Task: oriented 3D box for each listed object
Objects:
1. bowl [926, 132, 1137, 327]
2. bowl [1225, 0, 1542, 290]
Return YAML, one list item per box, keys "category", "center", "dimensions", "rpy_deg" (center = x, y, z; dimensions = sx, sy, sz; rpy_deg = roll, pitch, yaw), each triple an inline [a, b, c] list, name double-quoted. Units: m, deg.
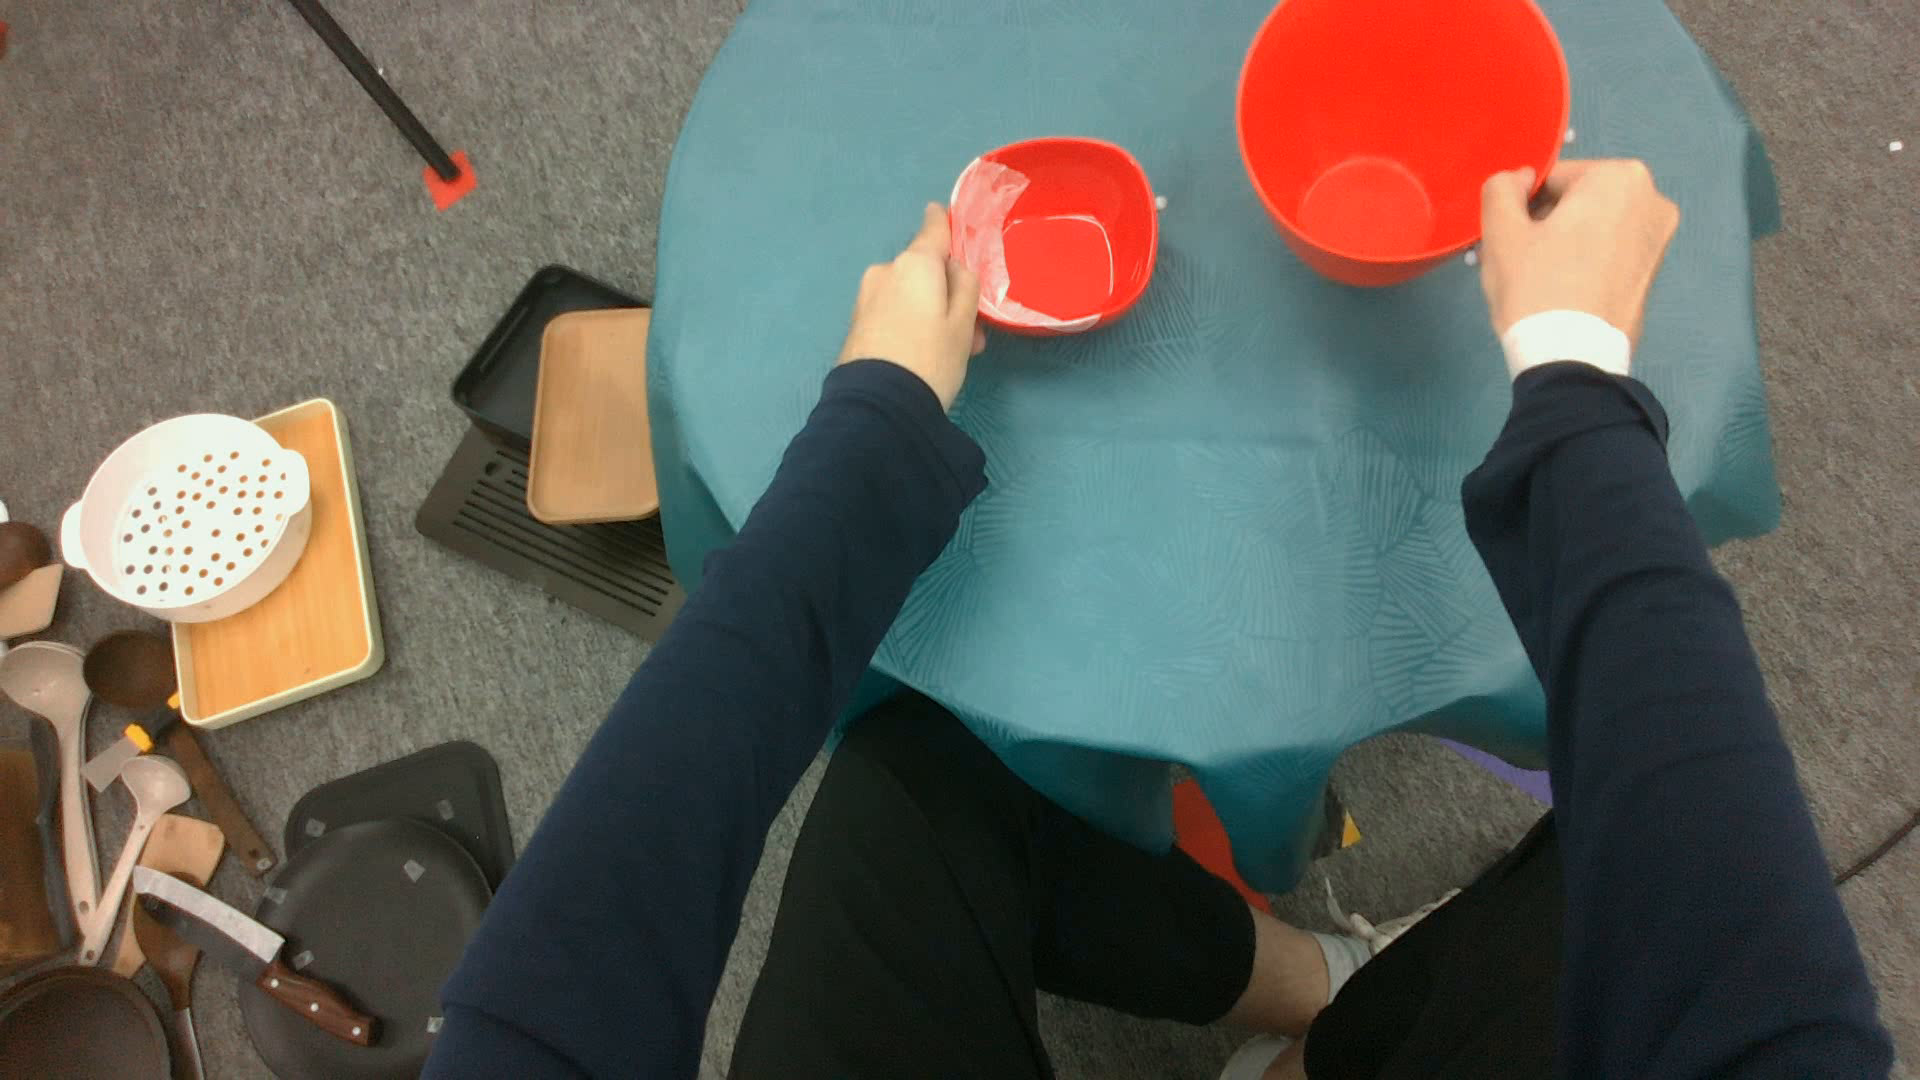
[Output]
- category: "bowl"
  center: [0.039, -0.159, 0.742]
  dimensions: [0.119, 0.051, 0.119]
  rpy_deg: [-1, 72, 4]
- category: "bowl"
  center: [0.202, -0.191, 0.691]
  dimensions: [0.148, 0.104, 0.148]
  rpy_deg: [-1, 71, 3]
